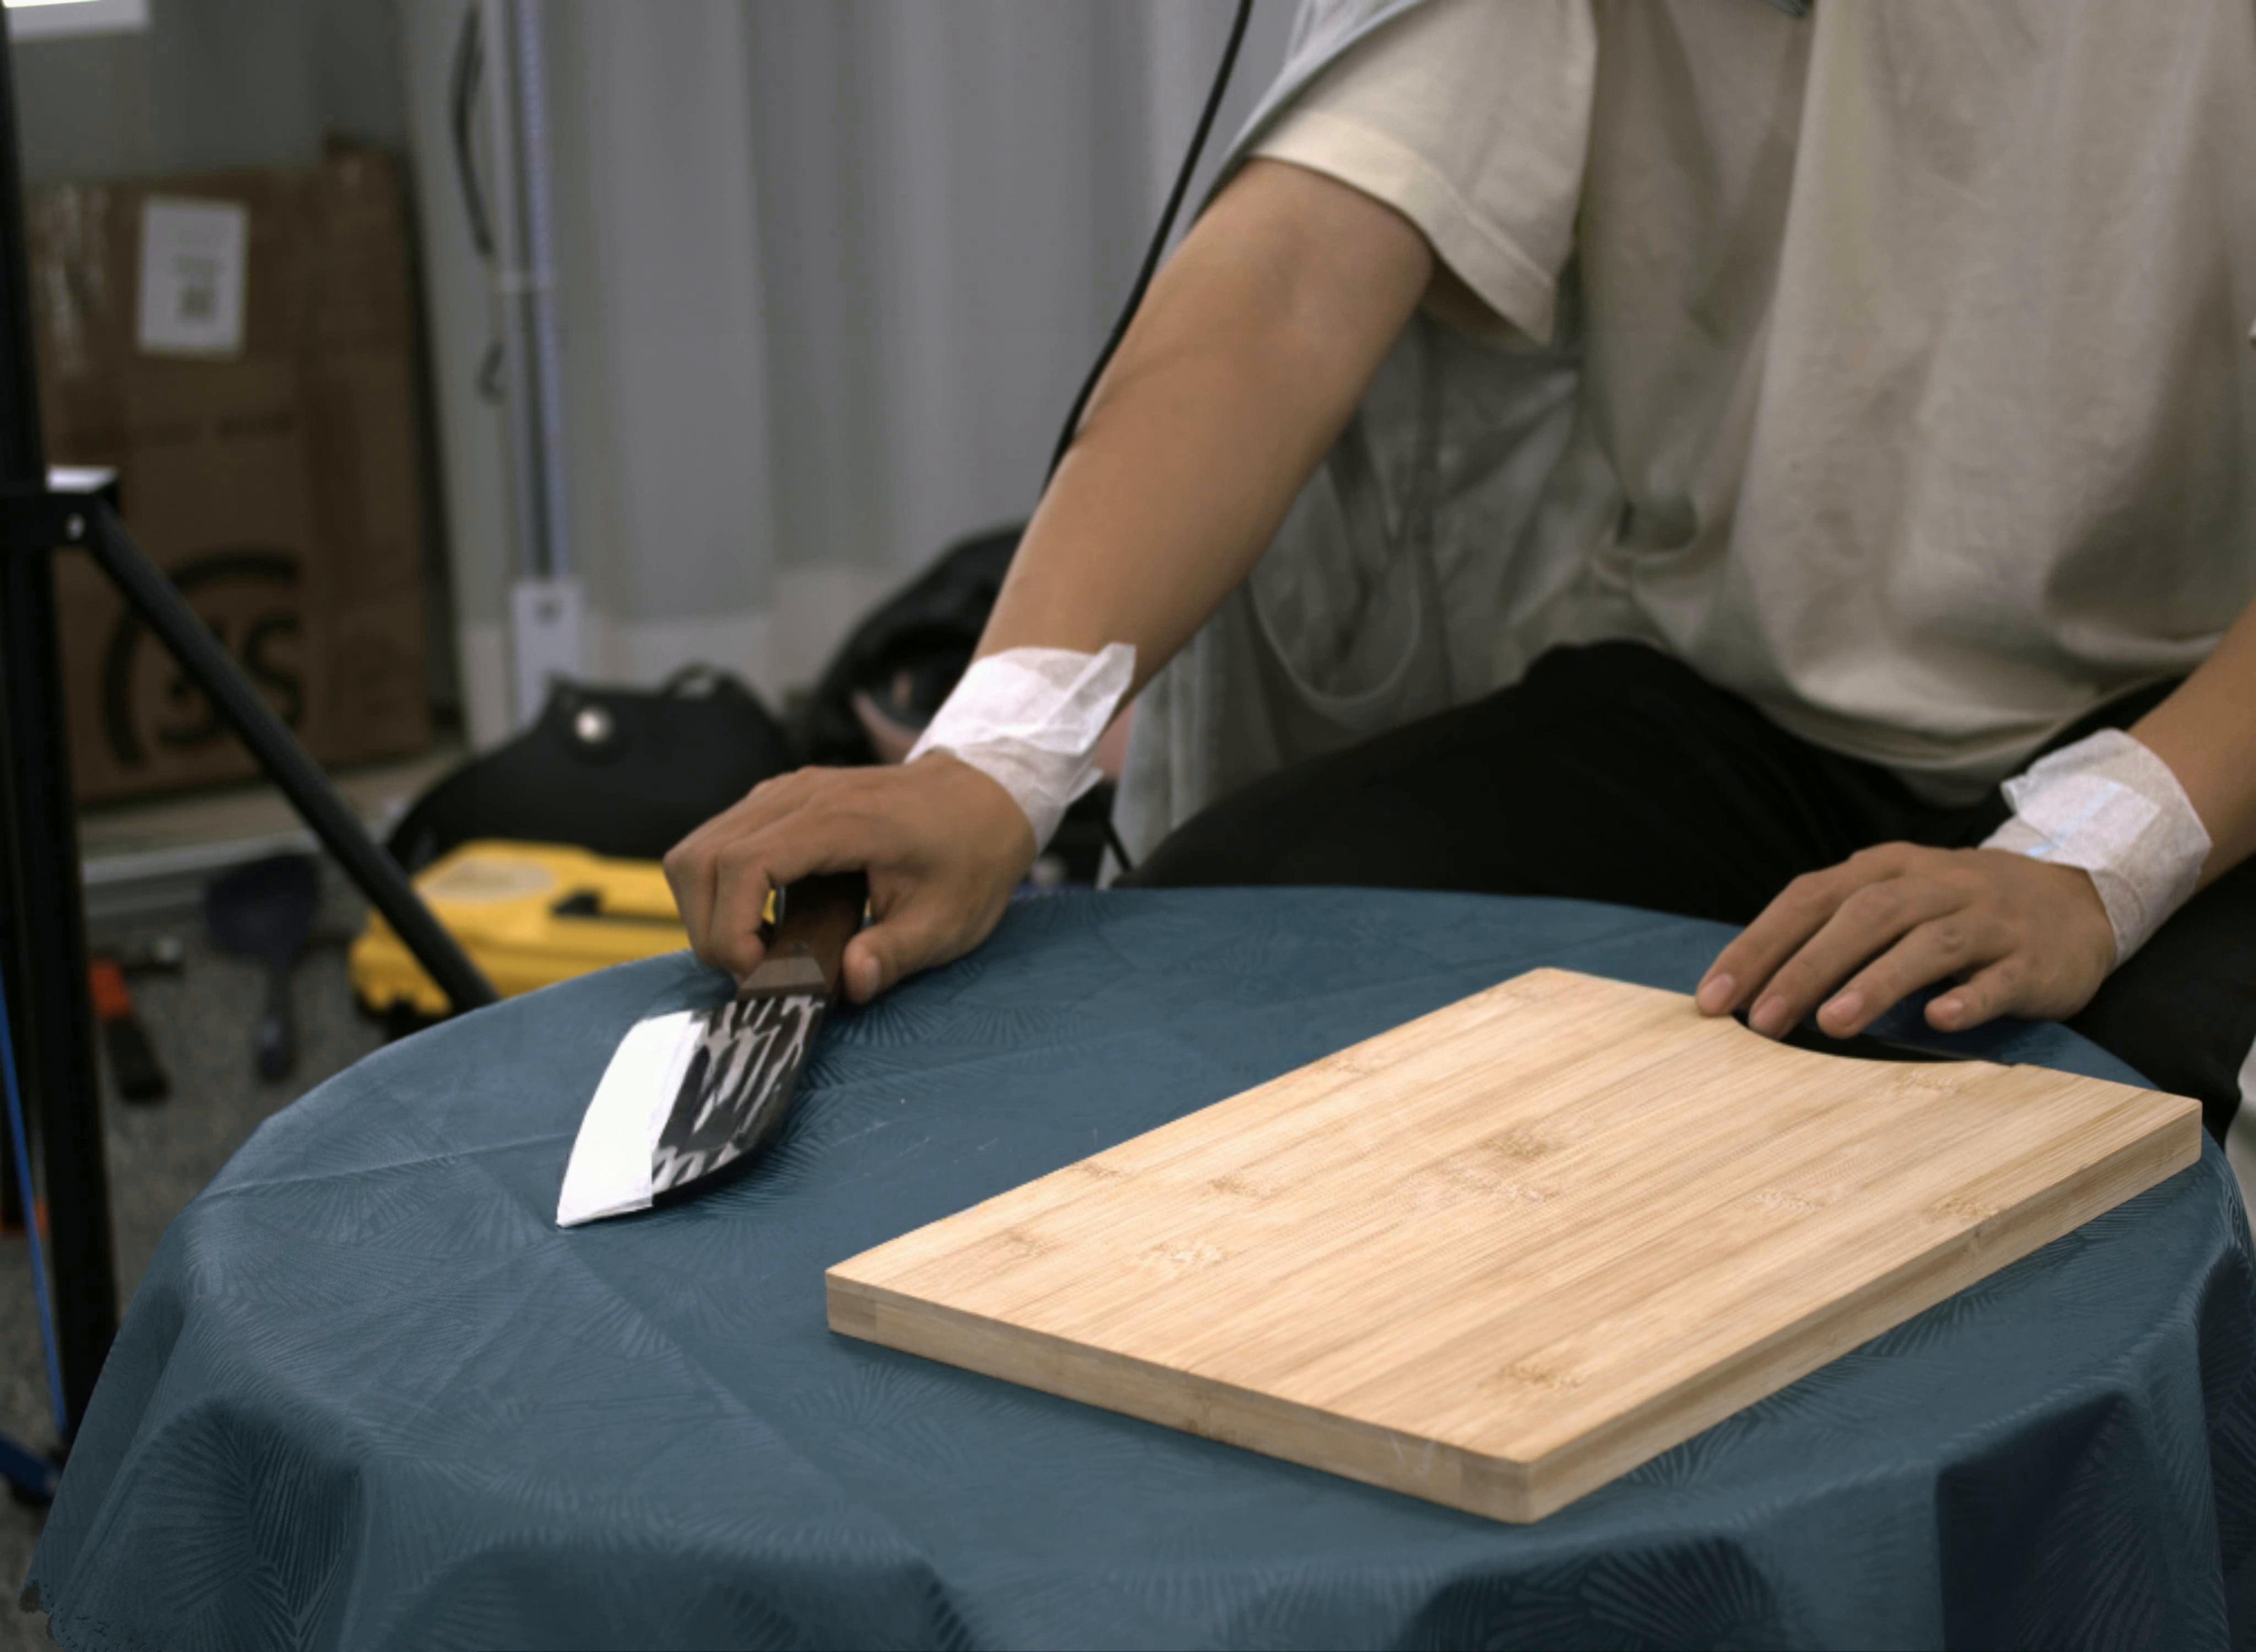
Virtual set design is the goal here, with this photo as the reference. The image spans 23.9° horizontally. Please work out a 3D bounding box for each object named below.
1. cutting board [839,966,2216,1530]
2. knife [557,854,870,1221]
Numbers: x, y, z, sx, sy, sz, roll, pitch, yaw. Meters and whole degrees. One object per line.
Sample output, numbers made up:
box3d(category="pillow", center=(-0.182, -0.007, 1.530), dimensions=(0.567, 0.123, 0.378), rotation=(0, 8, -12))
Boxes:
box3d(category="cutting board", center=(0.120, 0.109, 1.501), dimensions=(0.256, 0.023, 0.341), rotation=(11, 20, 39))
box3d(category="knife", center=(-0.129, 0.067, 1.689), dimensions=(0.068, 0.024, 0.299), rotation=(-7, 17, 8))
